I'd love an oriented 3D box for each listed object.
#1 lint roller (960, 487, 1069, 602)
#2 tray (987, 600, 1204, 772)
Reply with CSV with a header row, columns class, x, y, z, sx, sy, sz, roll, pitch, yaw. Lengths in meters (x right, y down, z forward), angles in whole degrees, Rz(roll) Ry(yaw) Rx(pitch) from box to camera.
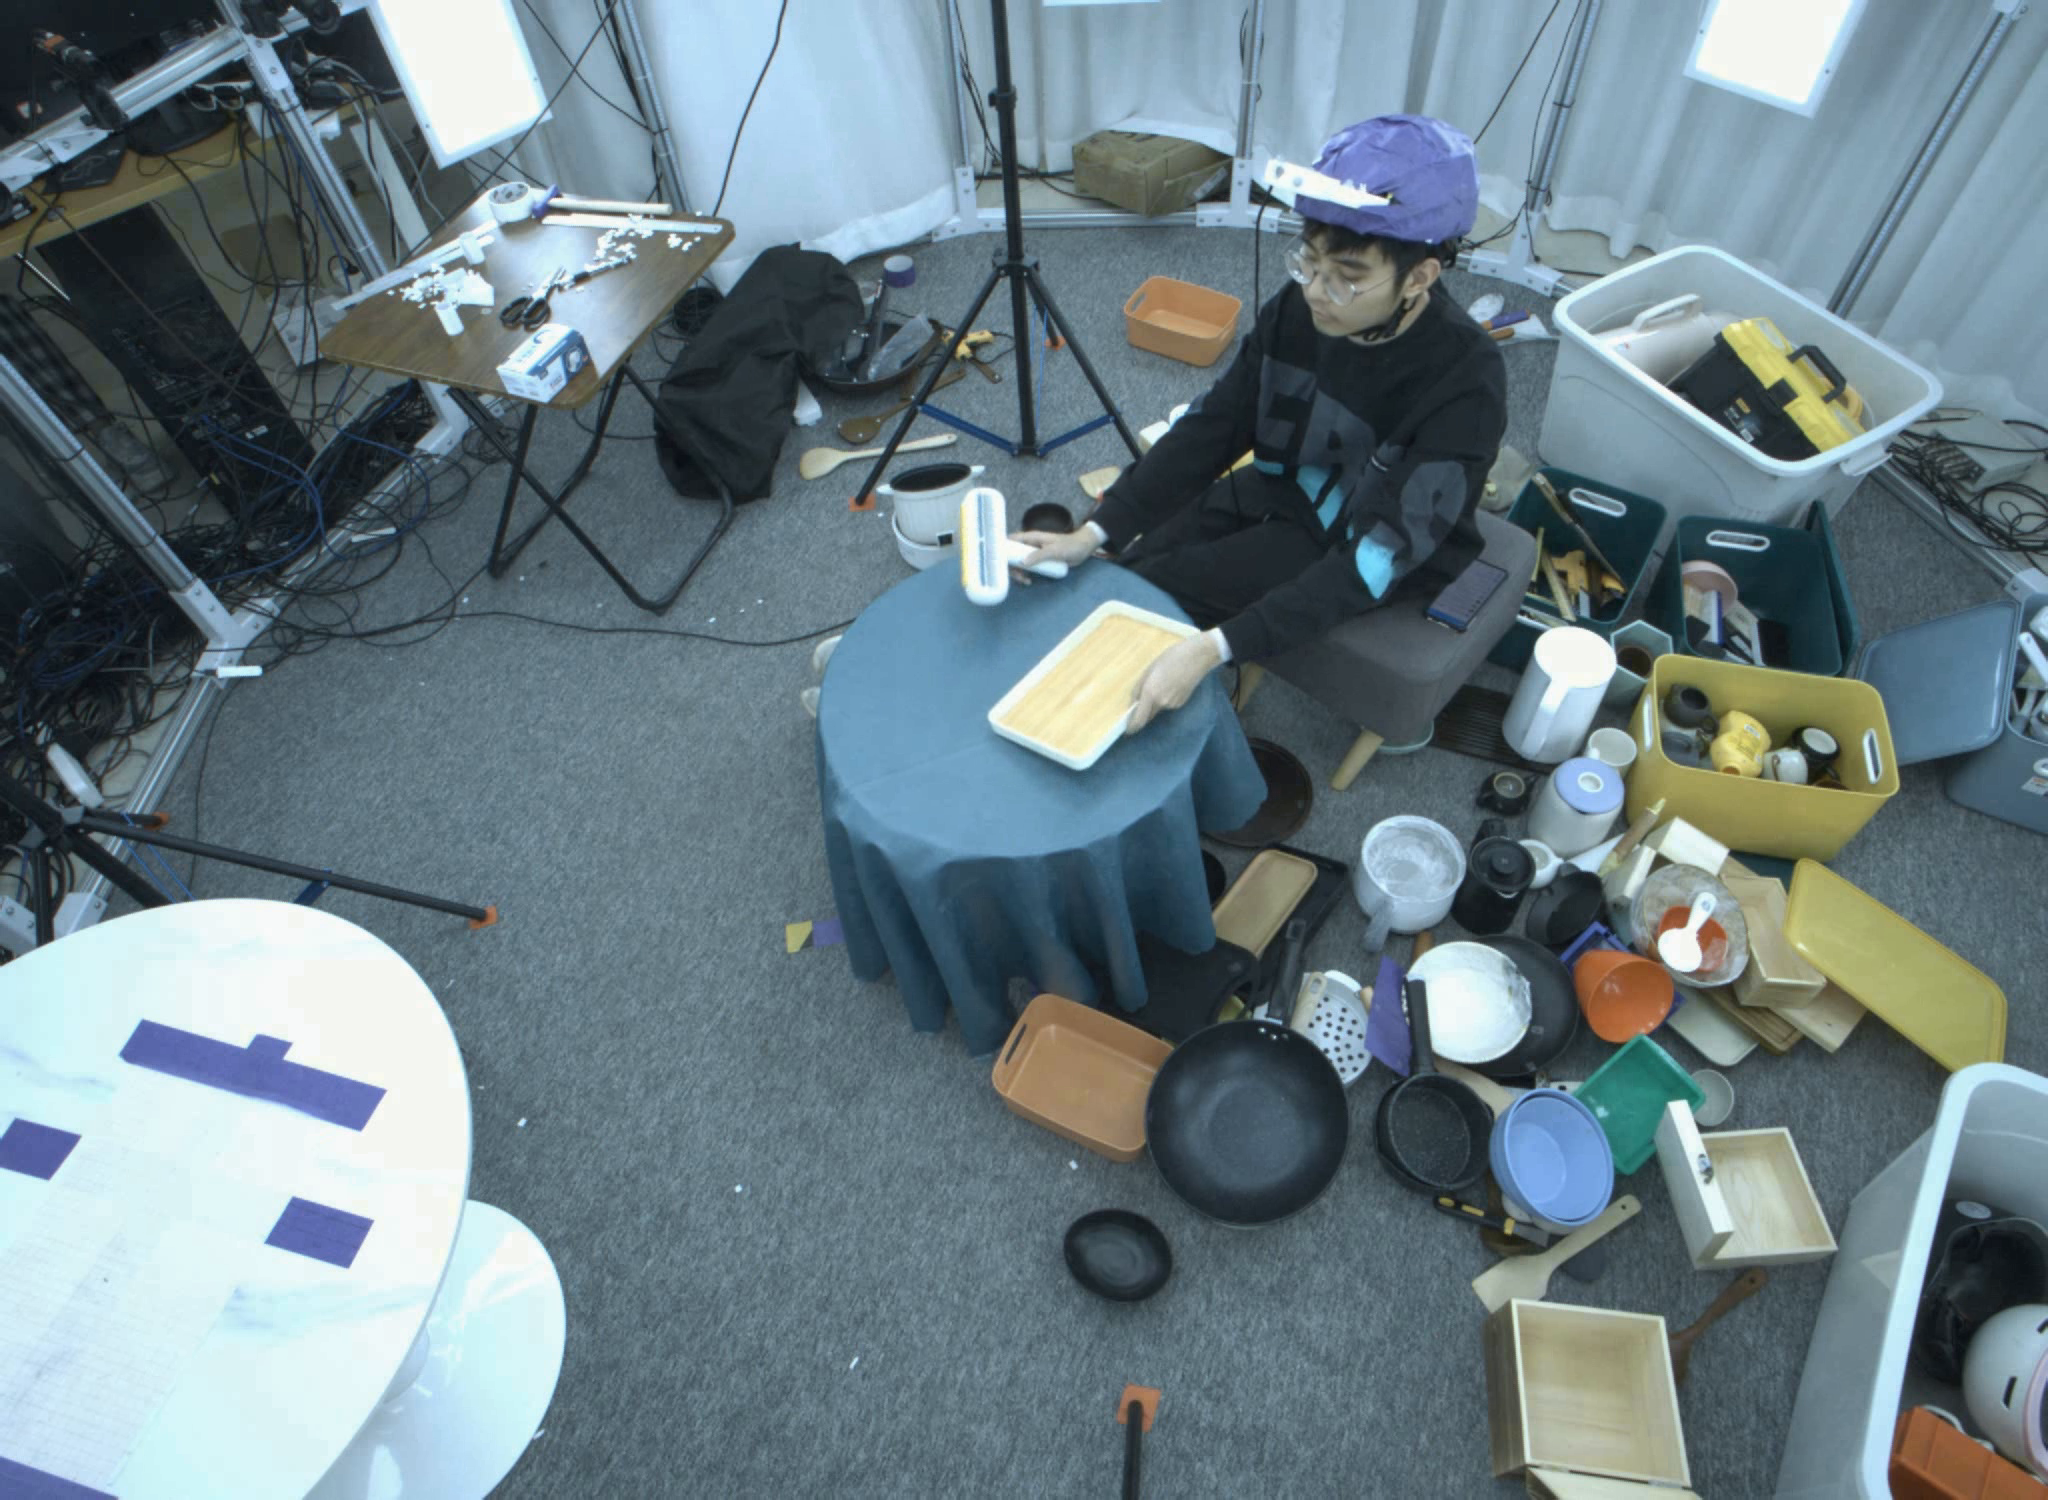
class,x,y,z,sx,sy,sz,roll,pitch,yaw
lint roller,-0.011,-0.308,1.917,0.195,0.073,0.191,7,64,-22
tray,0.107,-0.101,1.809,0.187,0.028,0.302,27,59,34
